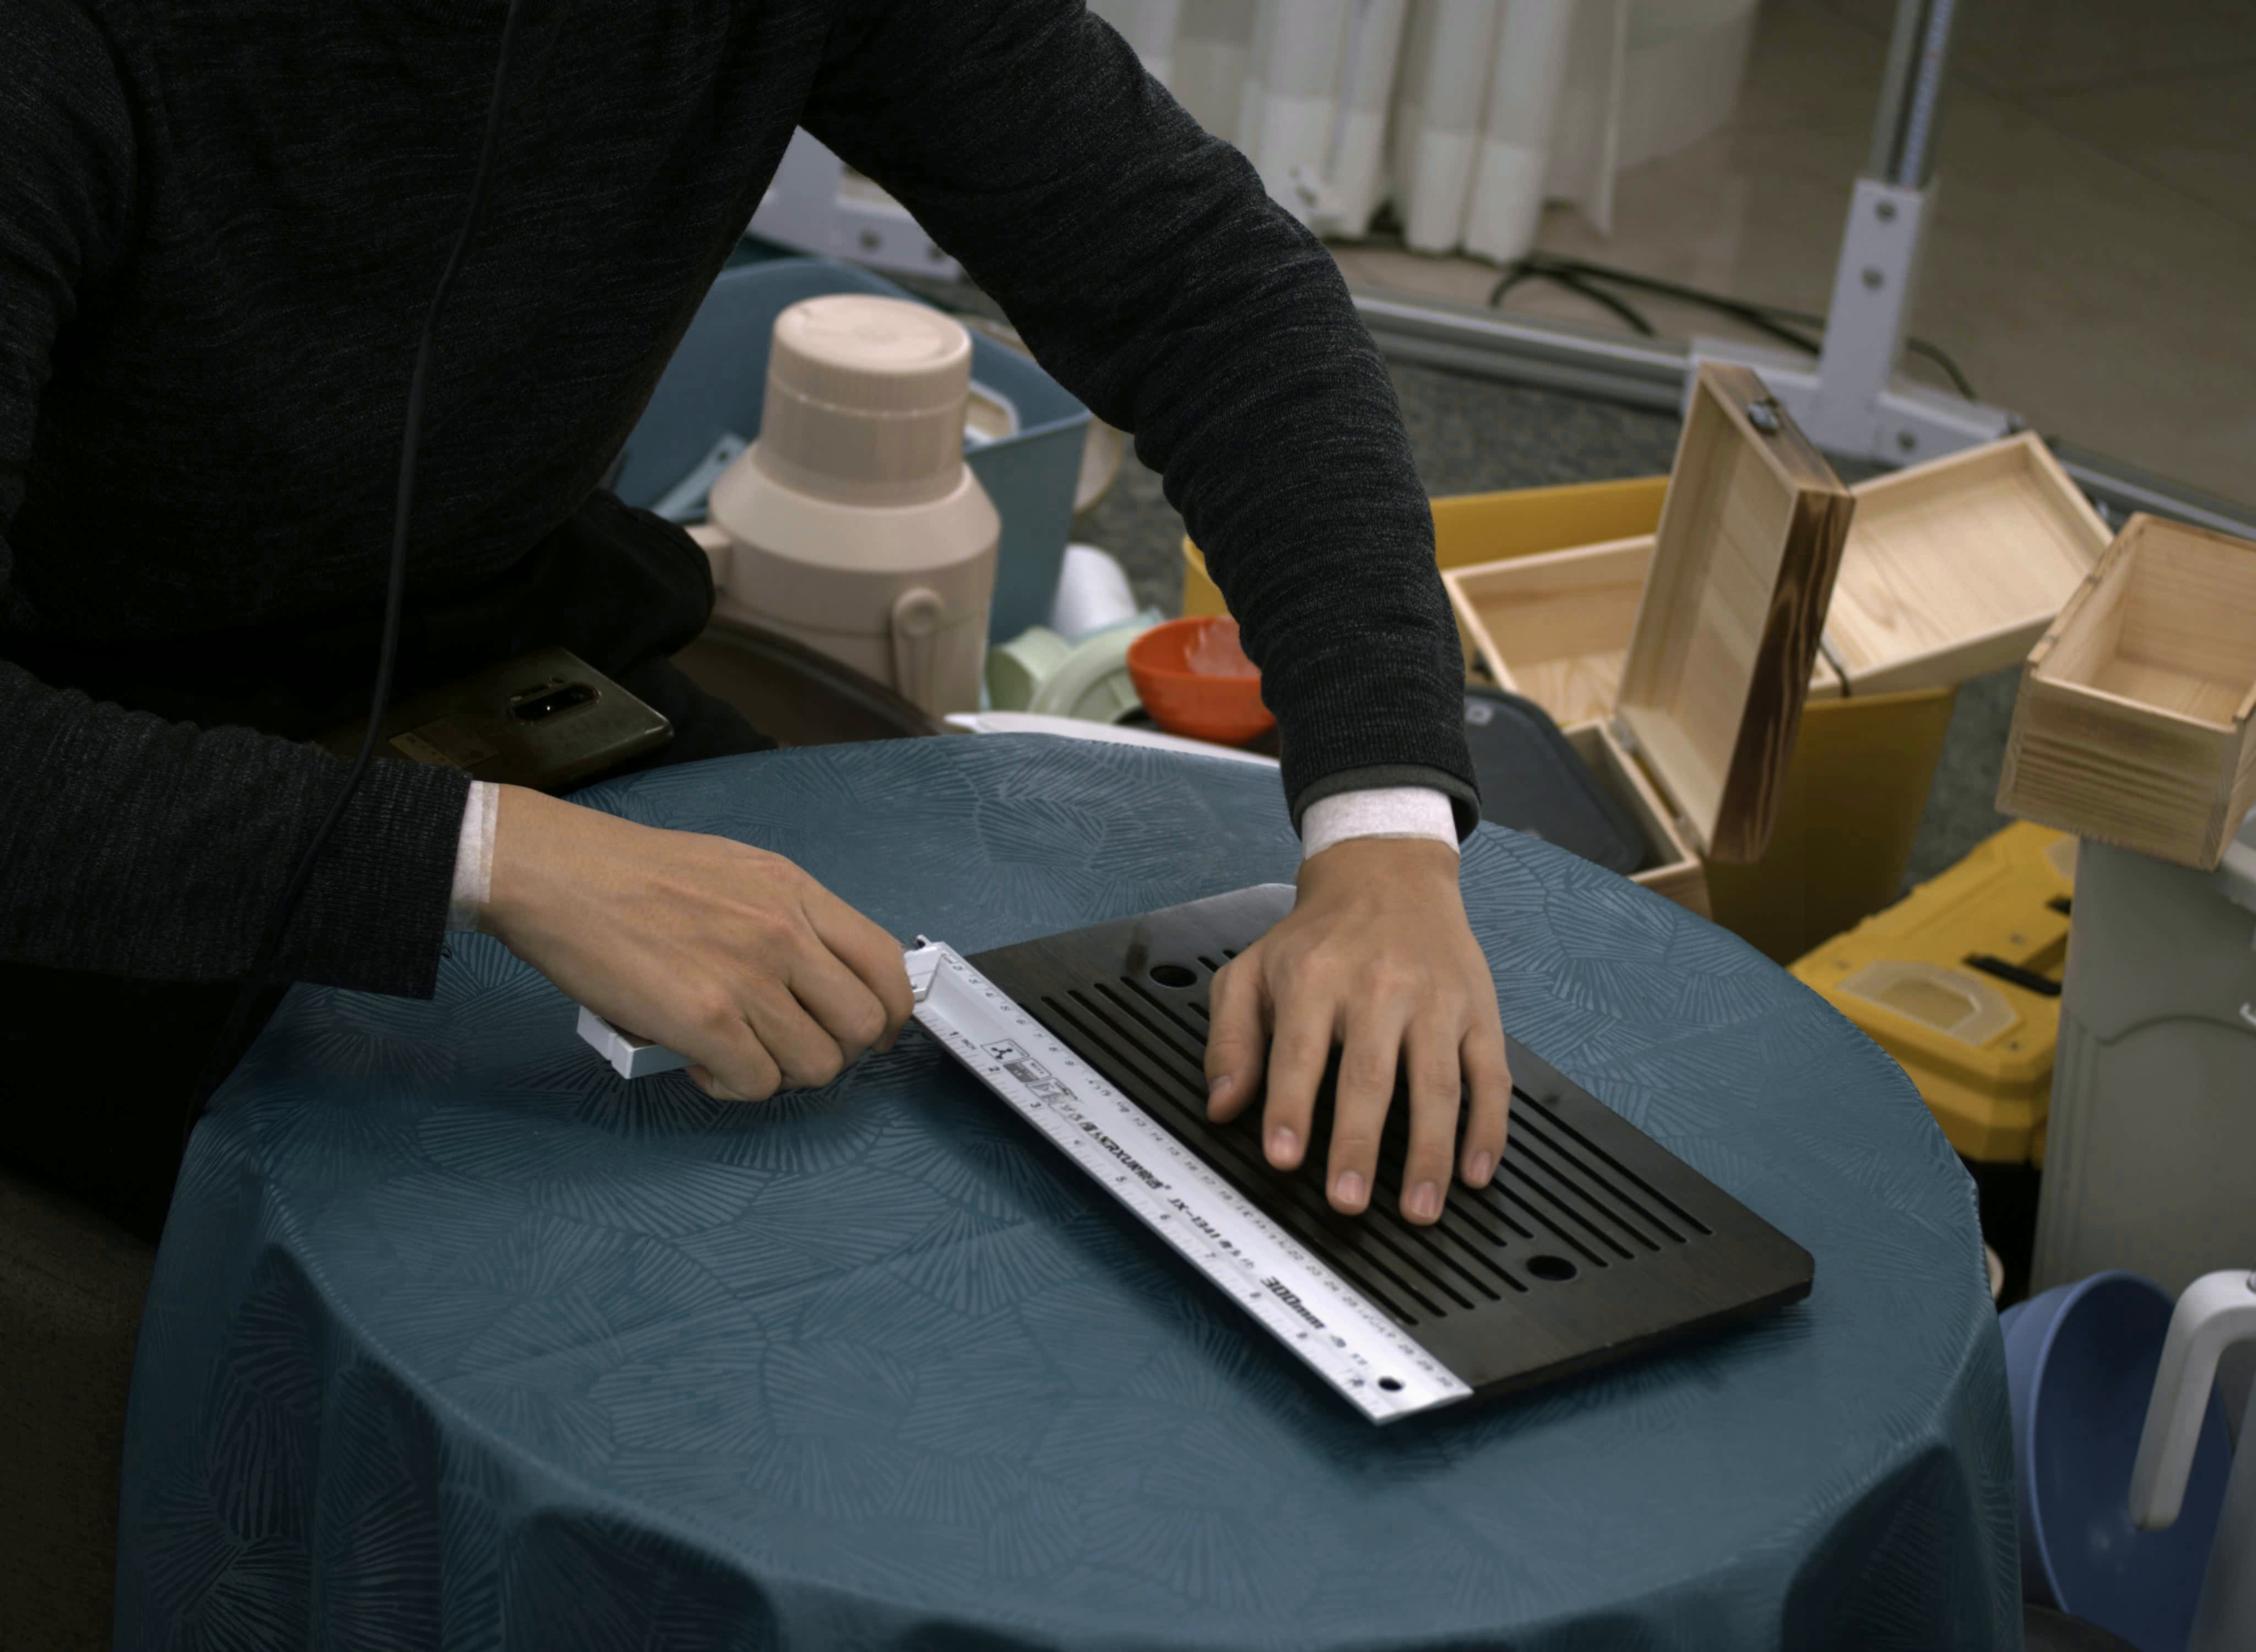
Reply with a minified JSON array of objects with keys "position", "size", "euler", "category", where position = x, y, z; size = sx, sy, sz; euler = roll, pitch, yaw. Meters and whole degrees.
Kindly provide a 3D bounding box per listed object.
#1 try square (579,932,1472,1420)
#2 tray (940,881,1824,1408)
[{"position":[-0.040,0.119,1.746],"size":[0.151,0.016,0.316],"euler":[-9,32,-35],"category":"try square"},{"position":[0.082,0.106,1.835],"size":[0.169,0.018,0.308],"euler":[-13,33,-33],"category":"tray"}]
